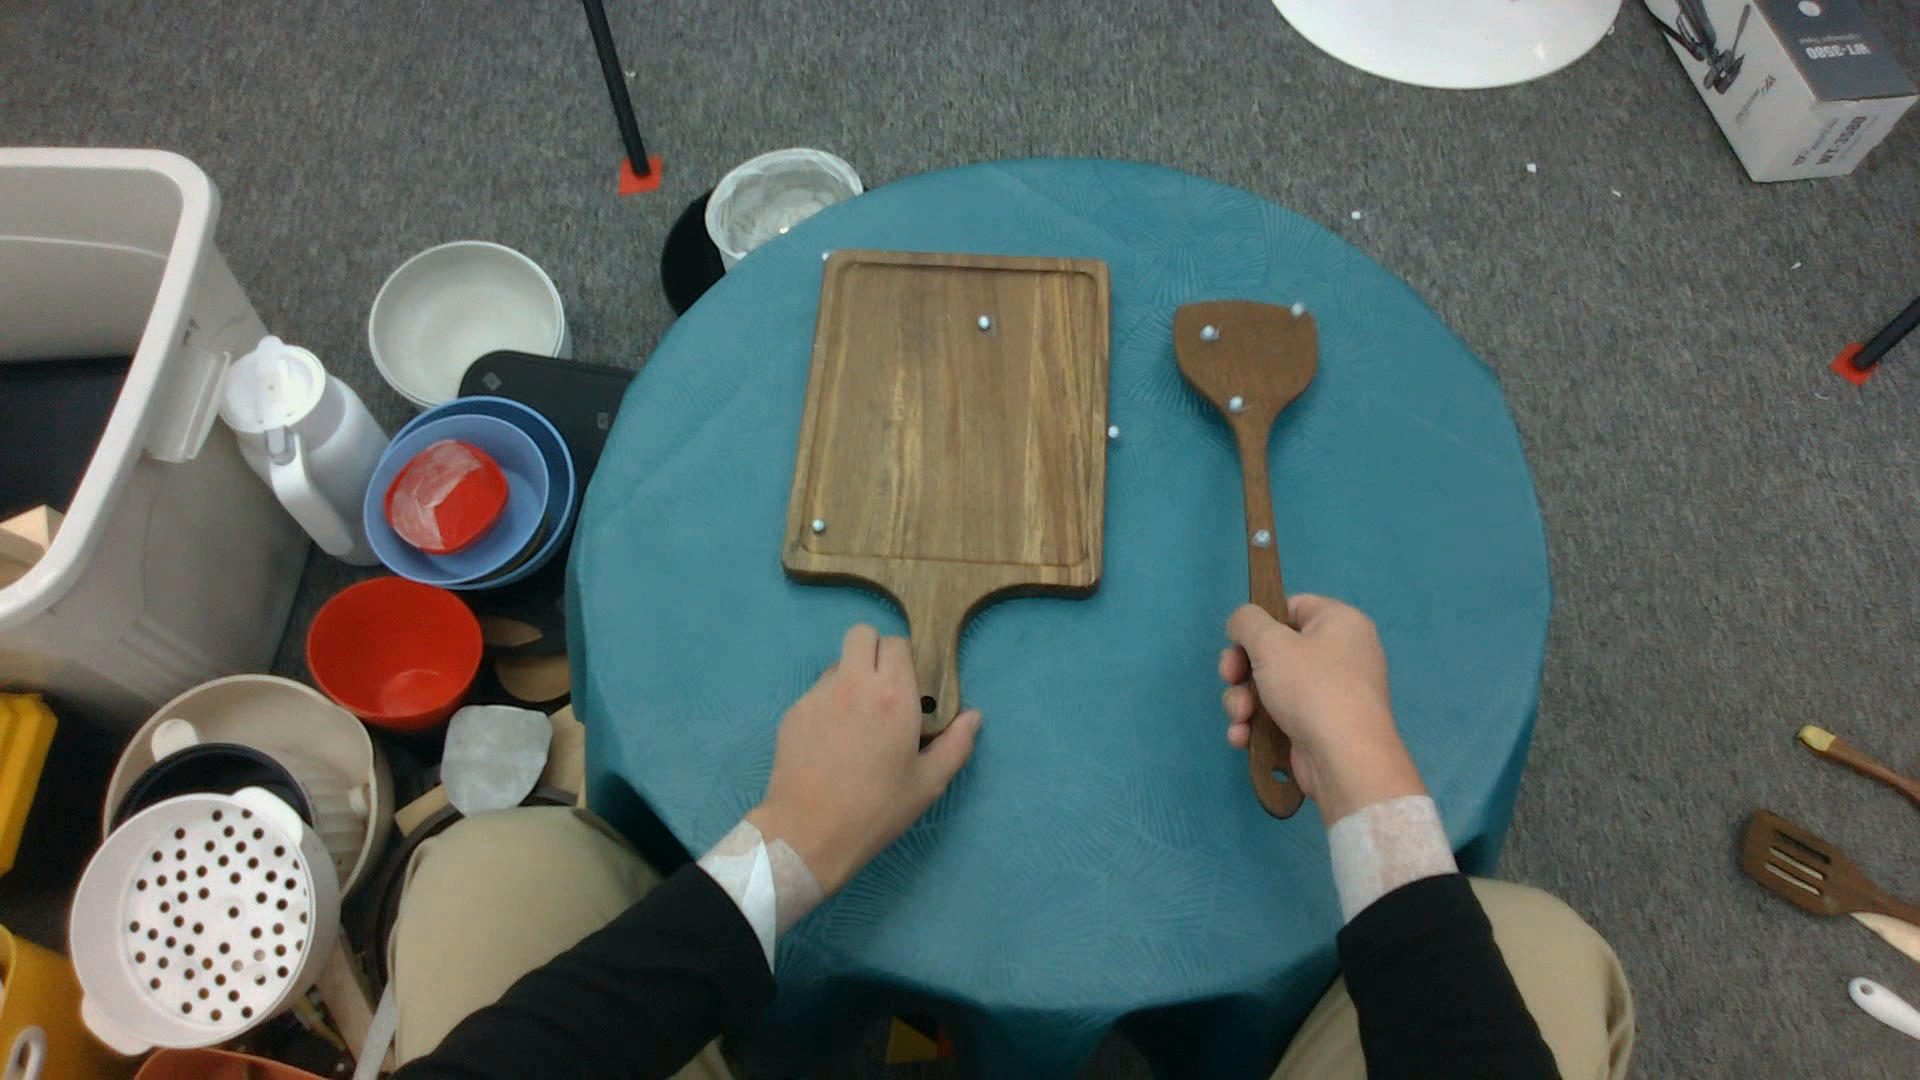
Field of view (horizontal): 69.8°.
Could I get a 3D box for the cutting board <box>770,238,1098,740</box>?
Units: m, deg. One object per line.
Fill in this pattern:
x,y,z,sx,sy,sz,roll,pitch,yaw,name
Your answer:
-0.014,-0.046,0.863,0.201,0.023,0.353,2,63,2,cutting board

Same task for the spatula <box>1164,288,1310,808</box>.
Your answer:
0.171,-0.019,0.806,0.096,0.016,0.388,3,51,2,spatula
